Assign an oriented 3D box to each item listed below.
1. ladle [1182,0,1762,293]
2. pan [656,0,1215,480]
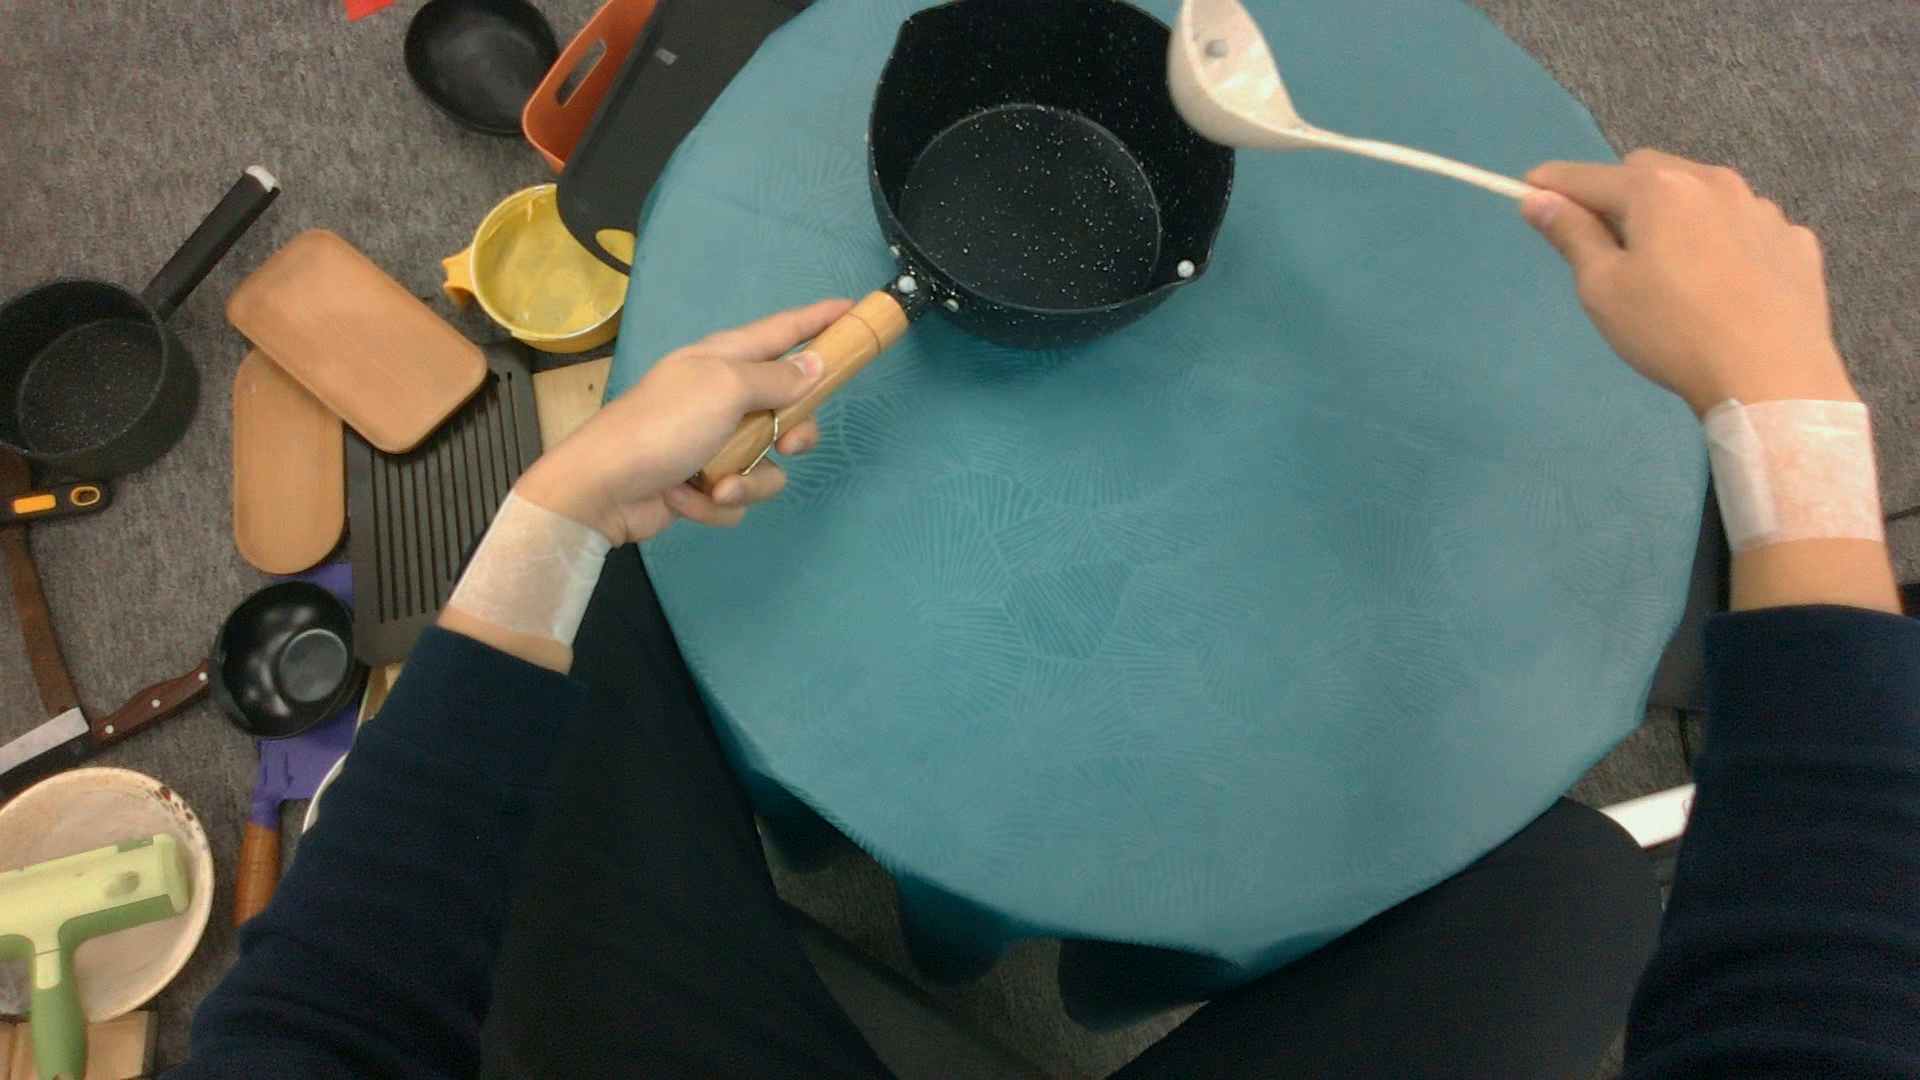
[{"bbox_3d":[0.225,-0.187,0.611,0.275,0.089,0.069,26,112,24],"label":"ladle"},{"bbox_3d":[-0.018,-0.138,0.692,0.207,0.108,0.344,41,73,5],"label":"pan"}]
